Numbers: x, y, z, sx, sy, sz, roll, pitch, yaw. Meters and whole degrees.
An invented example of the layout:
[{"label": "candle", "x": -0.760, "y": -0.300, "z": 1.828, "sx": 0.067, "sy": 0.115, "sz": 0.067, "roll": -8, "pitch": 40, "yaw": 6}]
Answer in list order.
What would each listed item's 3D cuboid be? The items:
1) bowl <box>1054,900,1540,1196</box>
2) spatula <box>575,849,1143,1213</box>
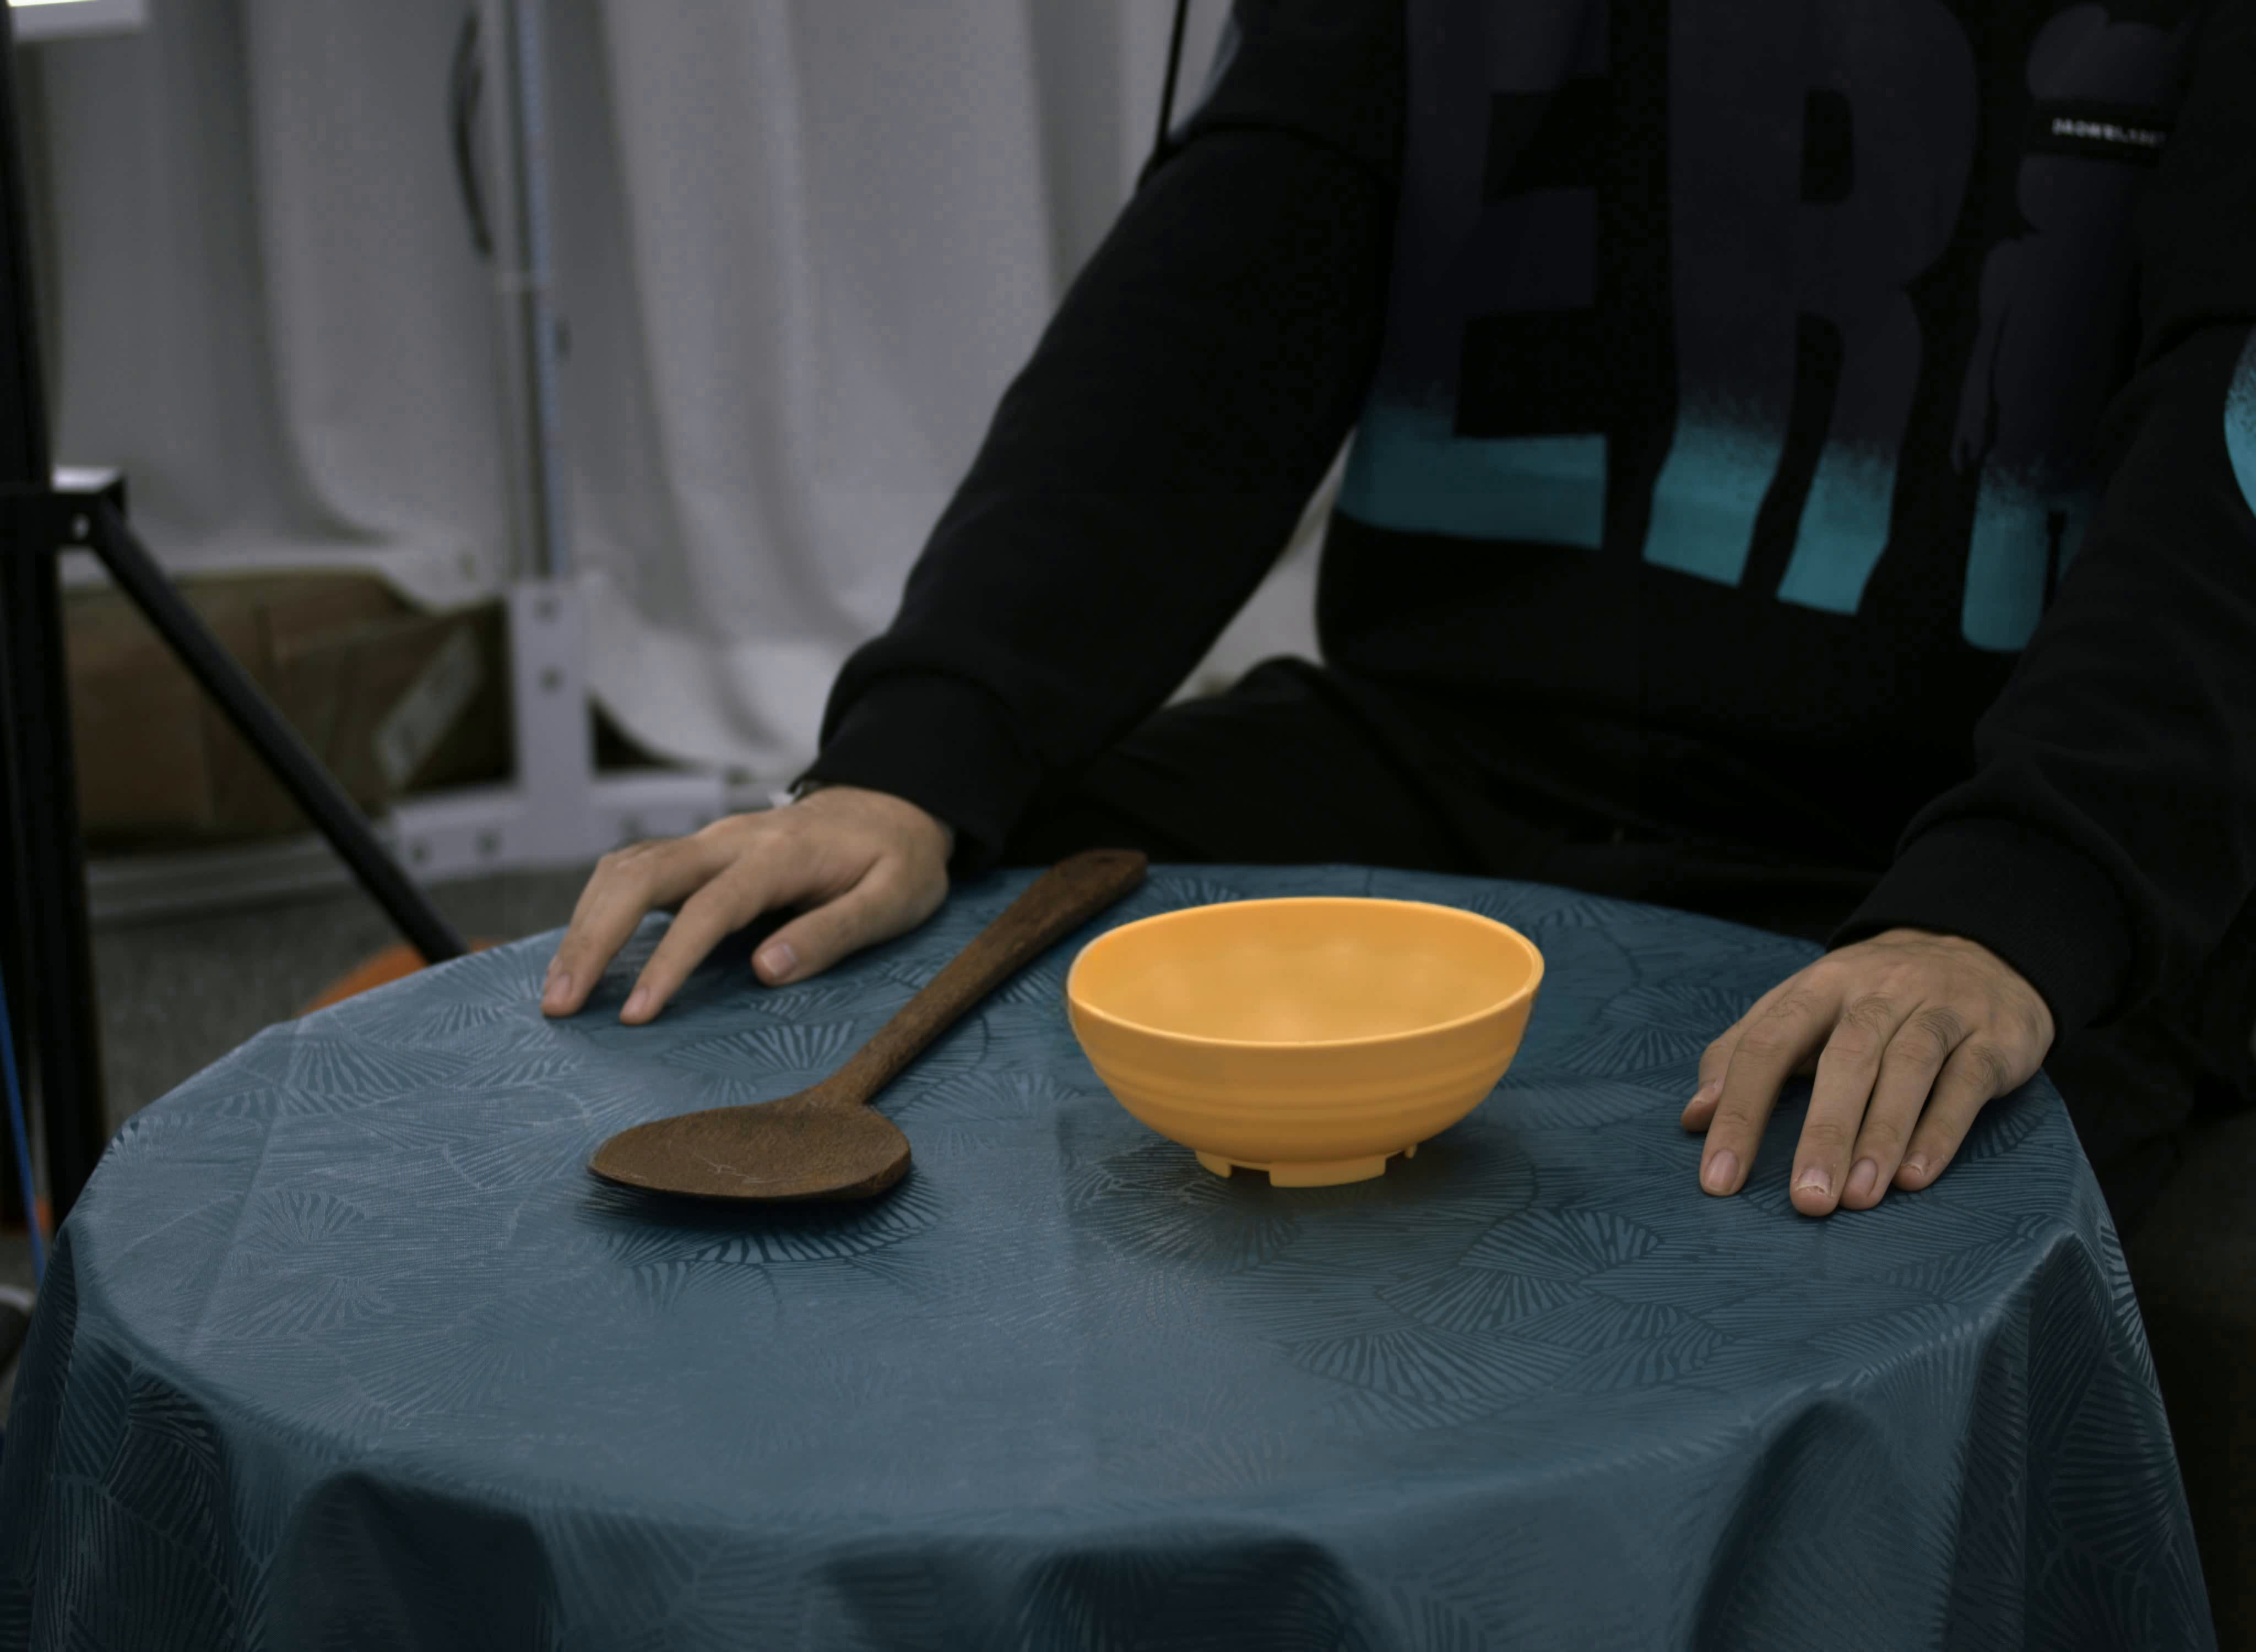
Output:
[{"label": "bowl", "x": 0.050, "y": 0.071, "z": 1.579, "sx": 0.144, "sy": 0.060, "sz": 0.146, "roll": 0, "pitch": 16, "yaw": -1}, {"label": "spatula", "x": -0.064, "y": 0.060, "z": 1.713, "sx": 0.097, "sy": 0.016, "sz": 0.381, "roll": 3, "pitch": 17, "yaw": 19}]
